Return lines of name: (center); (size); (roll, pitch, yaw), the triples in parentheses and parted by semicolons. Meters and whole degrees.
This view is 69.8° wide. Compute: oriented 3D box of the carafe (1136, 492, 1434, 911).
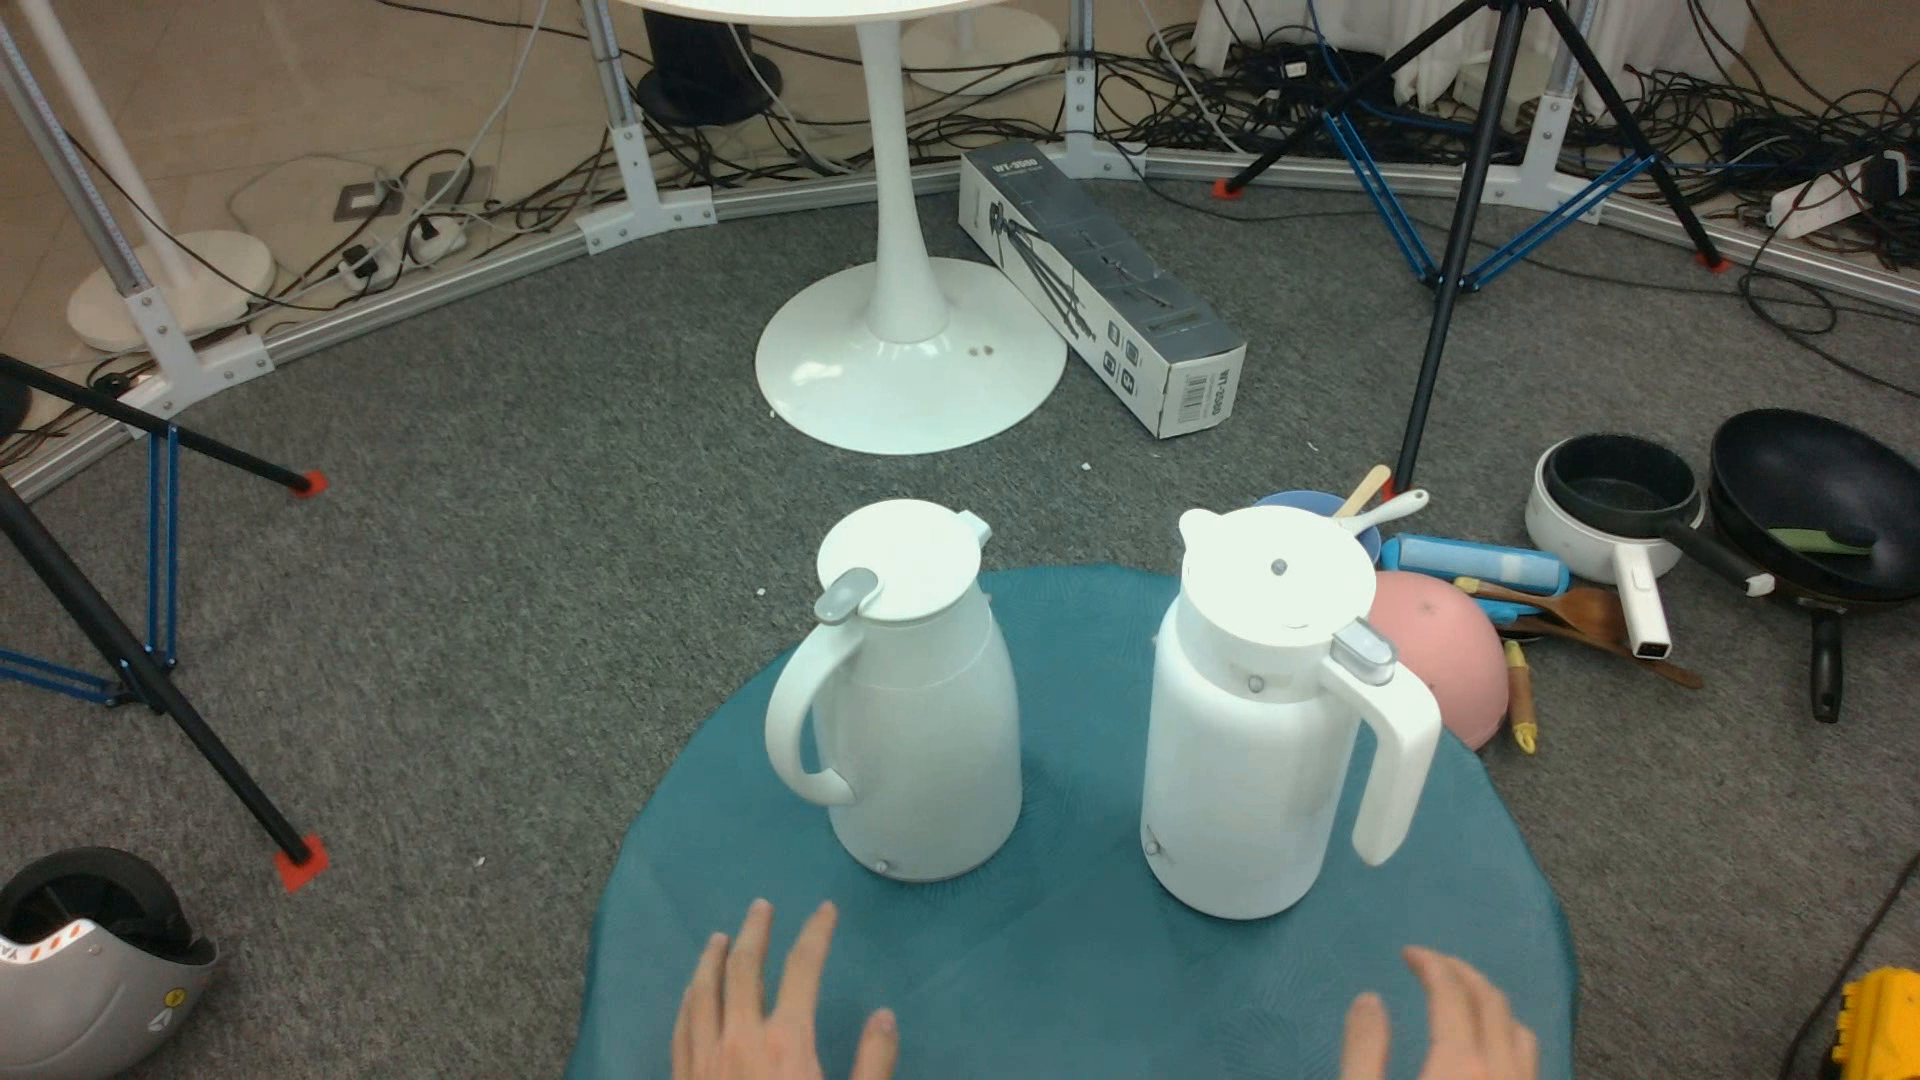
carafe: (0.179, 0.111, 0.796); (0.124, 0.267, 0.173); (-29, 52, -25)

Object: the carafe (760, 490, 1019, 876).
carafe: (-0.045, 0.095, 0.834); (0.132, 0.247, 0.168); (34, 57, 30)
